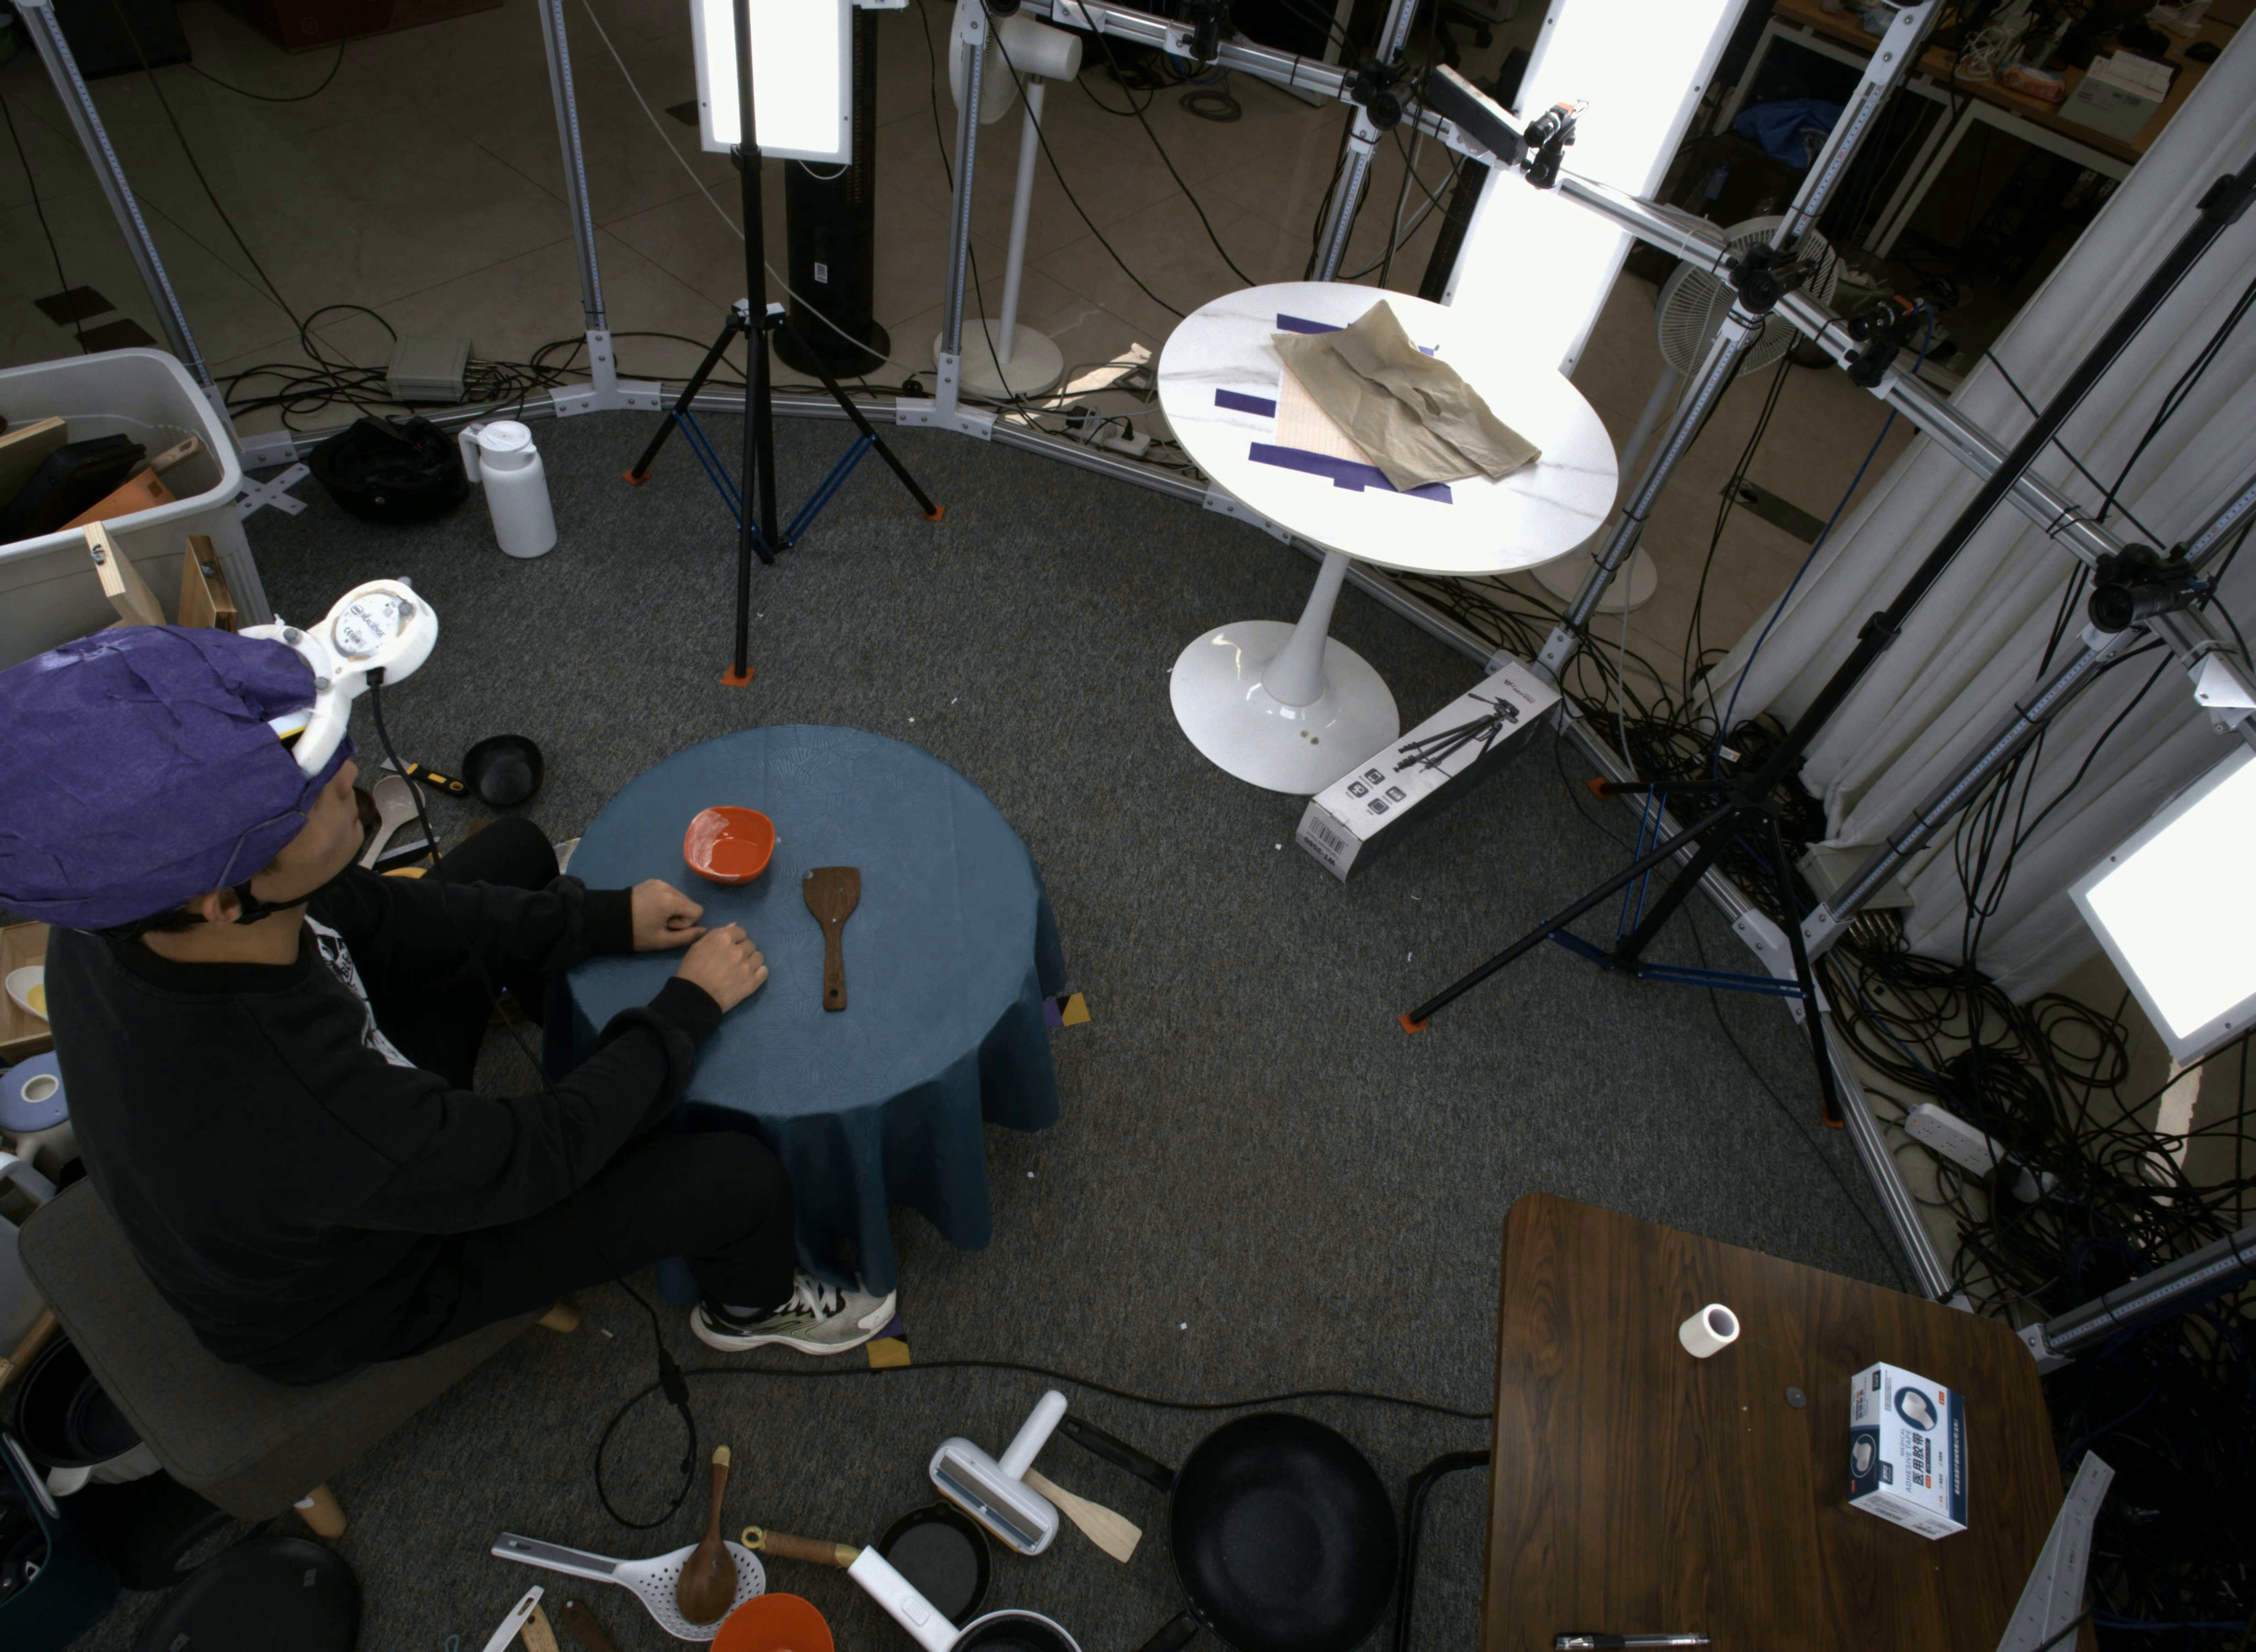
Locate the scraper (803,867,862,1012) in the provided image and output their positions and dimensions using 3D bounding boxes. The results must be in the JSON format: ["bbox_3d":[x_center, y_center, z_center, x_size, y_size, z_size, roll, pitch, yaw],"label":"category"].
[{"bbox_3d":[-0.370,0.139,1.635,0.076,0.011,0.207,-1,55,-14],"label":"scraper"}]

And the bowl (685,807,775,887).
[{"bbox_3d":[-0.508,0.034,1.652,0.119,0.052,0.117,8,53,-10],"label":"bowl"}]
